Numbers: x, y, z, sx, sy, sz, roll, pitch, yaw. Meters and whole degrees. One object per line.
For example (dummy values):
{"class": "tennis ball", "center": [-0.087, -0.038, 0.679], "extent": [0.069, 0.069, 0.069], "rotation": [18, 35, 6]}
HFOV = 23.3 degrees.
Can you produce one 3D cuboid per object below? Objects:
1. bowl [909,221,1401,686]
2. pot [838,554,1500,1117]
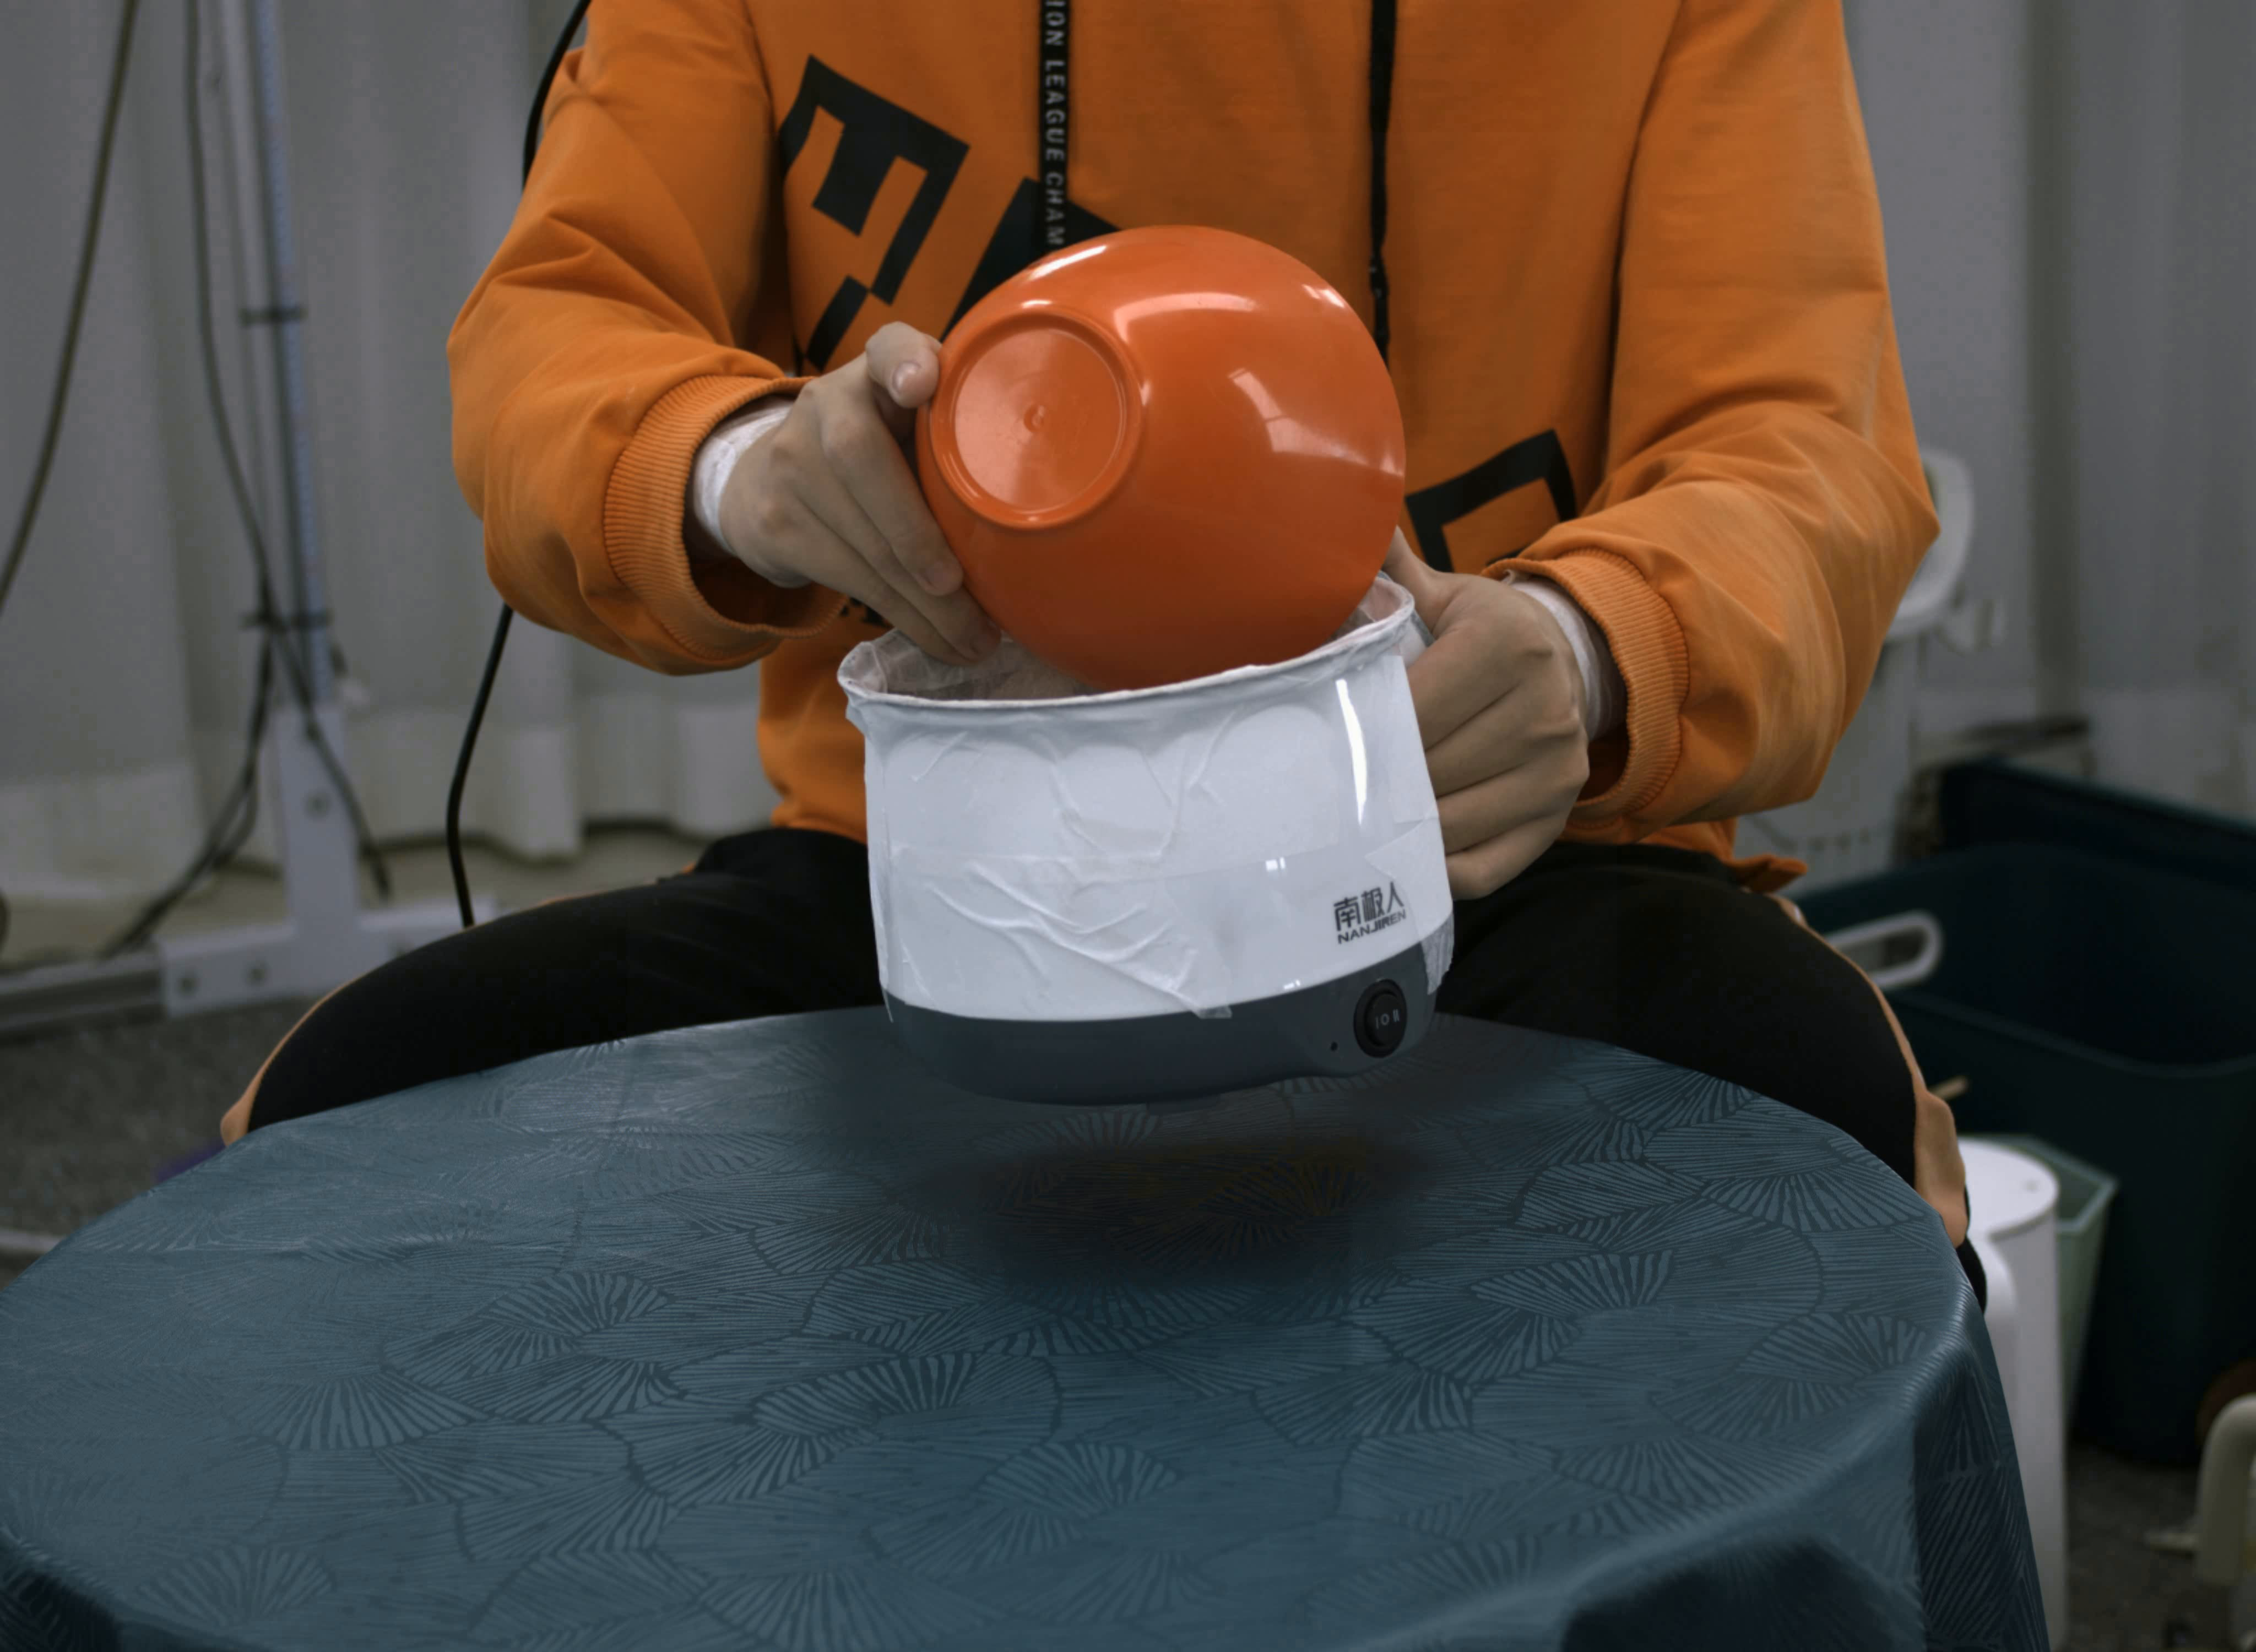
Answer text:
{"class": "bowl", "center": [-0.002, -0.116, 1.657], "extent": [0.148, 0.149, 0.104], "rotation": [2, -3, 19]}
{"class": "pot", "center": [0.026, -0.004, 1.688], "extent": [0.179, 0.136, 0.233], "rotation": [6, 18, 43]}
